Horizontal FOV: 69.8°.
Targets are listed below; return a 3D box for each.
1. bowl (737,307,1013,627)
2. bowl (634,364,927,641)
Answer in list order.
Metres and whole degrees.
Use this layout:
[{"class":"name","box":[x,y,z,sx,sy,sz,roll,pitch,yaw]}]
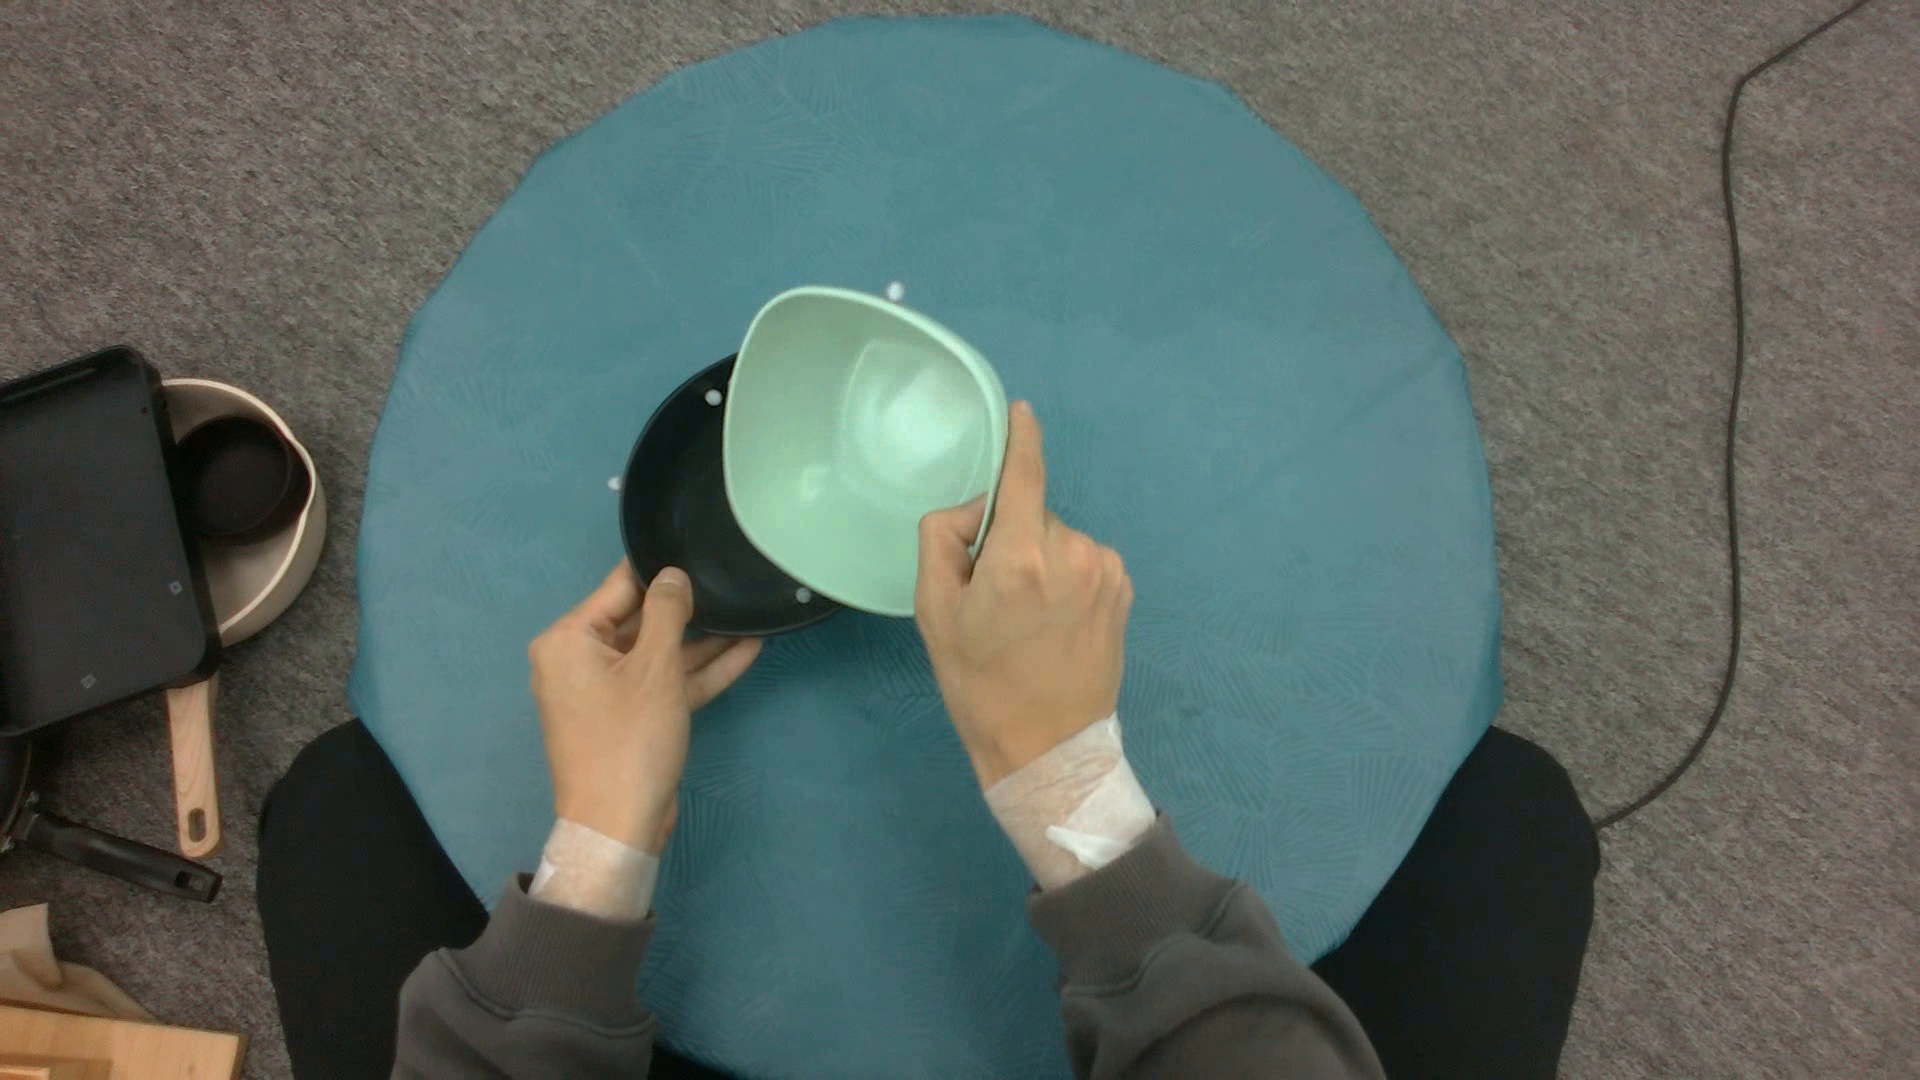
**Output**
[{"class":"bowl","box":[-0.030,-0.039,0.637,0.151,0.059,0.151,10,110,28]},{"class":"bowl","box":[-0.084,-0.018,0.707,0.137,0.066,0.171,43,74,8]}]
